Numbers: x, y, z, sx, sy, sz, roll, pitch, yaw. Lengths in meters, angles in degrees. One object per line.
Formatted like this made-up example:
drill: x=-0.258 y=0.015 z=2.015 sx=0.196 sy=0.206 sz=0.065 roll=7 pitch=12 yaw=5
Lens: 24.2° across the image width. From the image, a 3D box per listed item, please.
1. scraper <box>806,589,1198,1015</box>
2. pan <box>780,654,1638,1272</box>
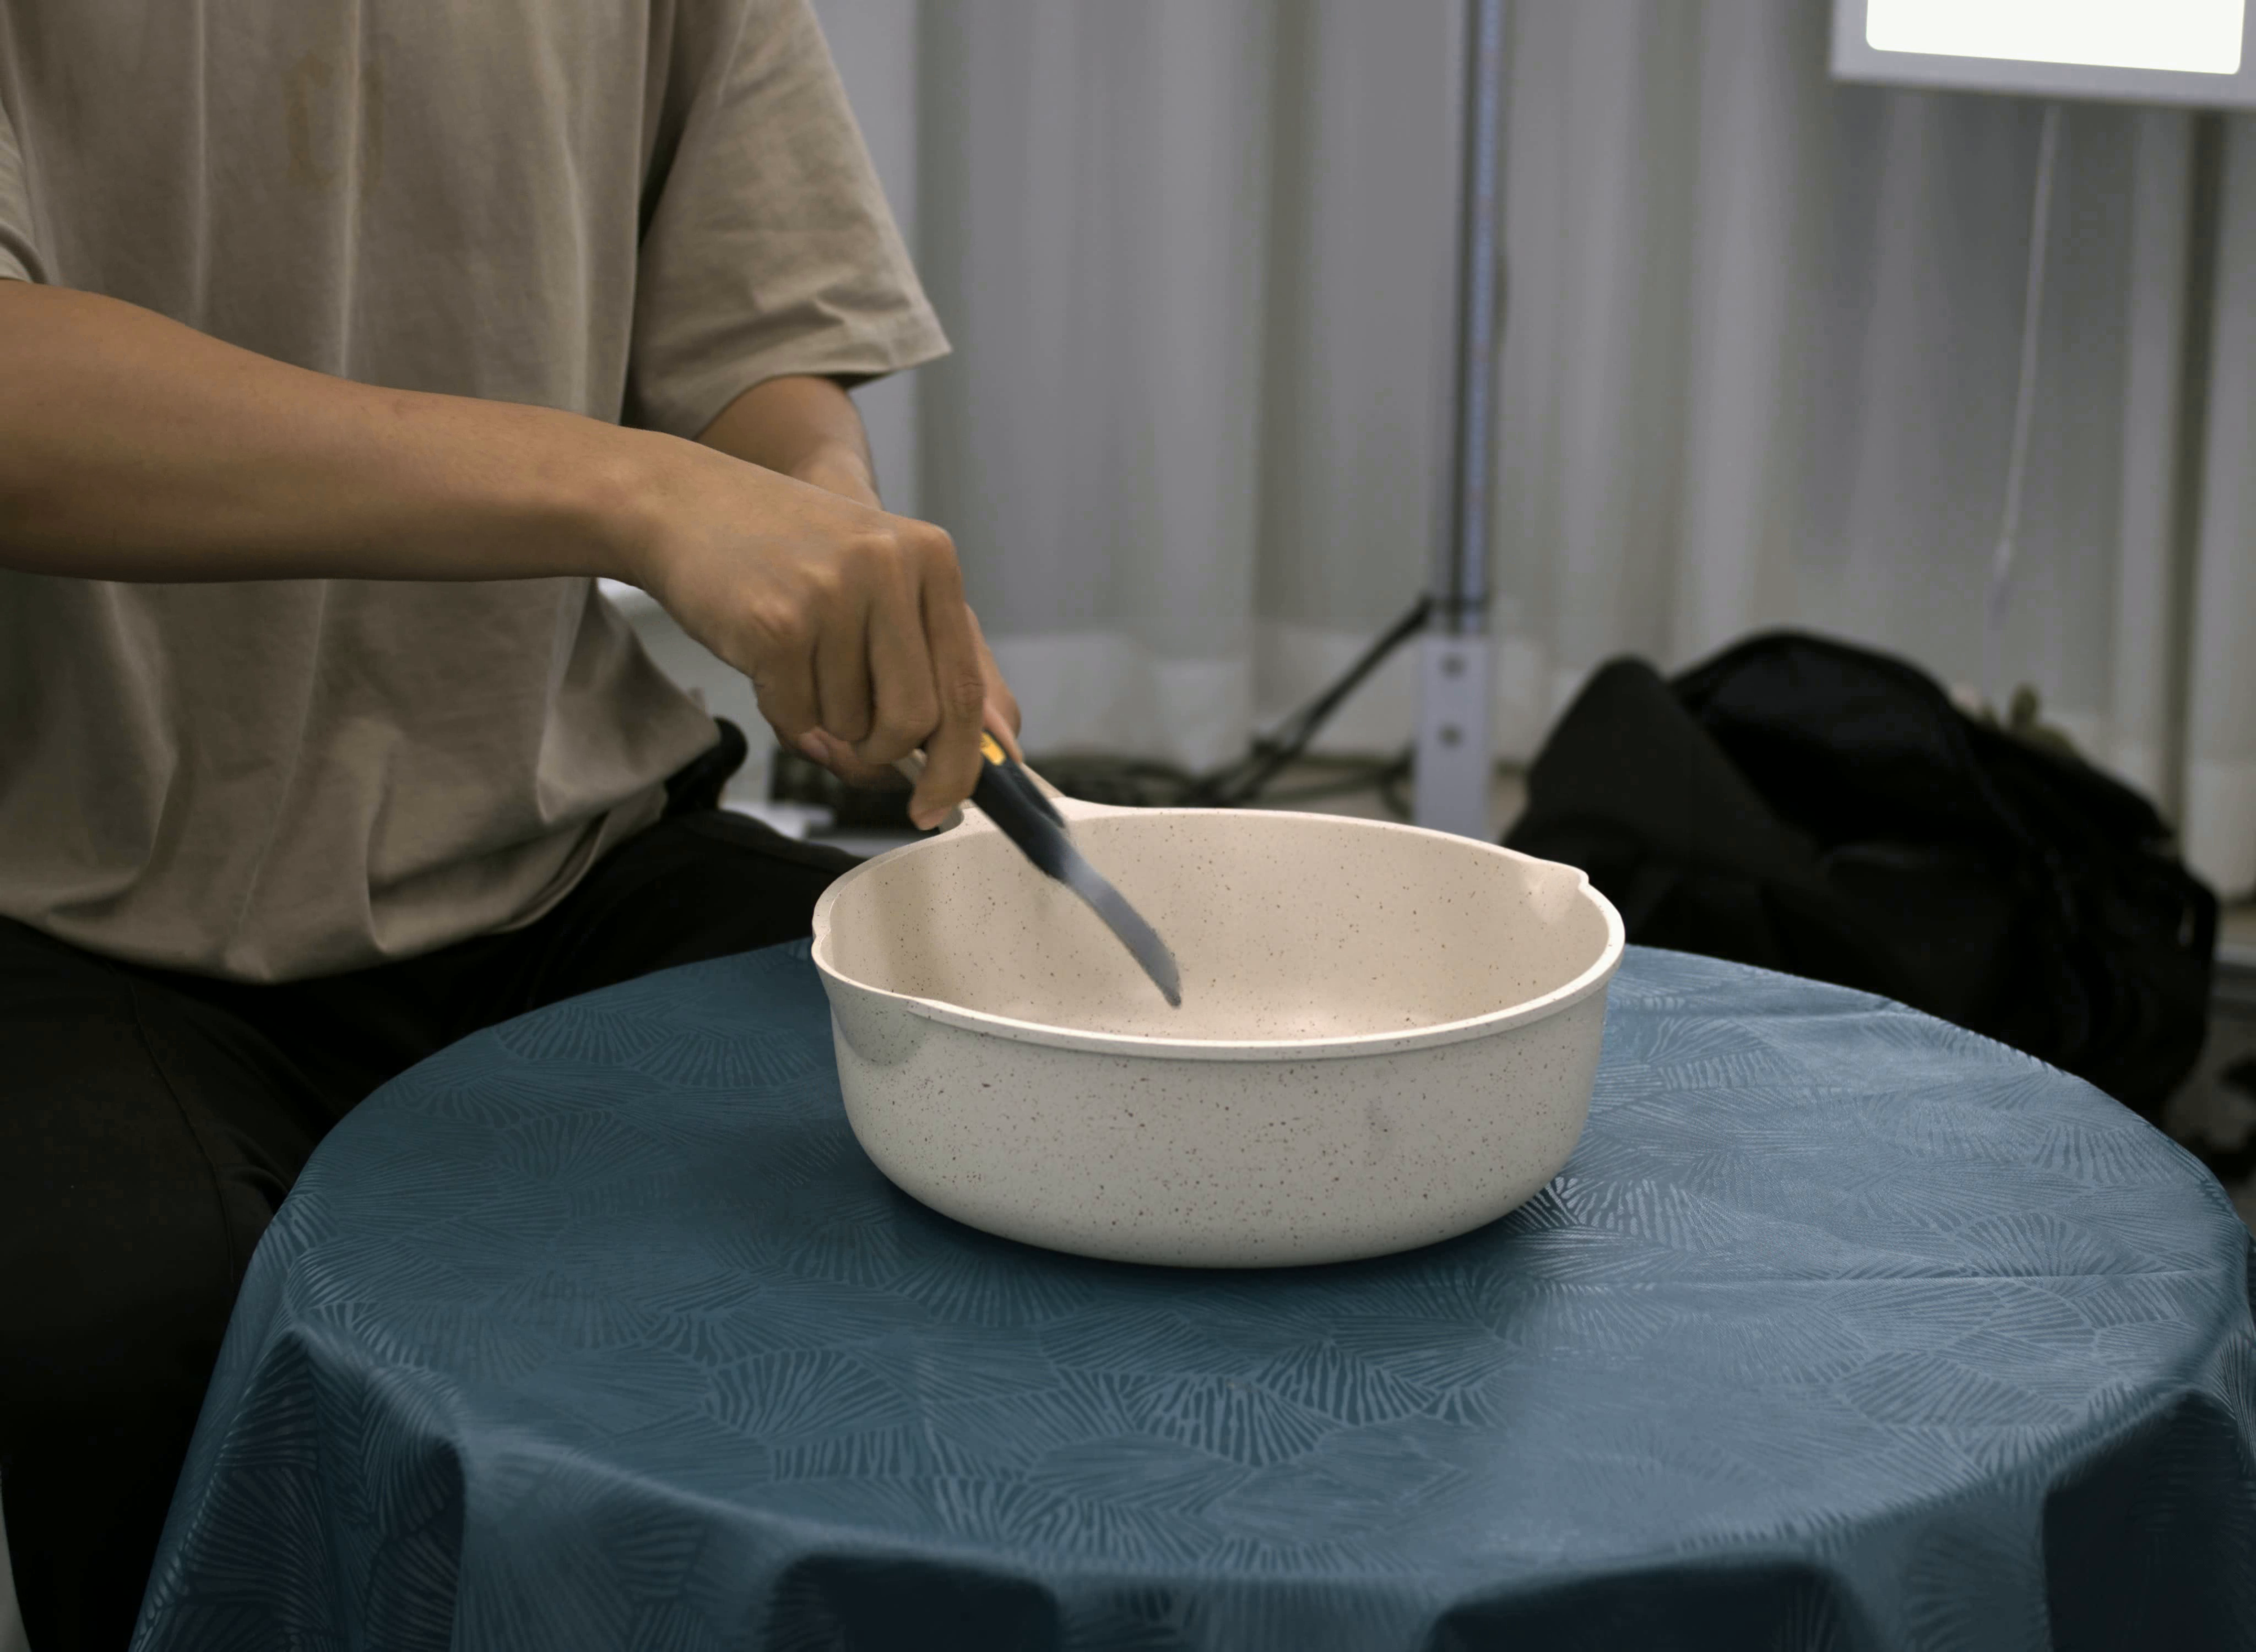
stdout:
scraper: x=-0.040 y=-0.008 z=1.651 sx=0.015 sy=0.172 sz=0.038 roll=-36 pitch=13 yaw=30
pan: x=-0.009 y=0.039 z=1.714 sx=0.264 sy=0.103 sz=0.429 roll=-10 pitch=19 yaw=-26
